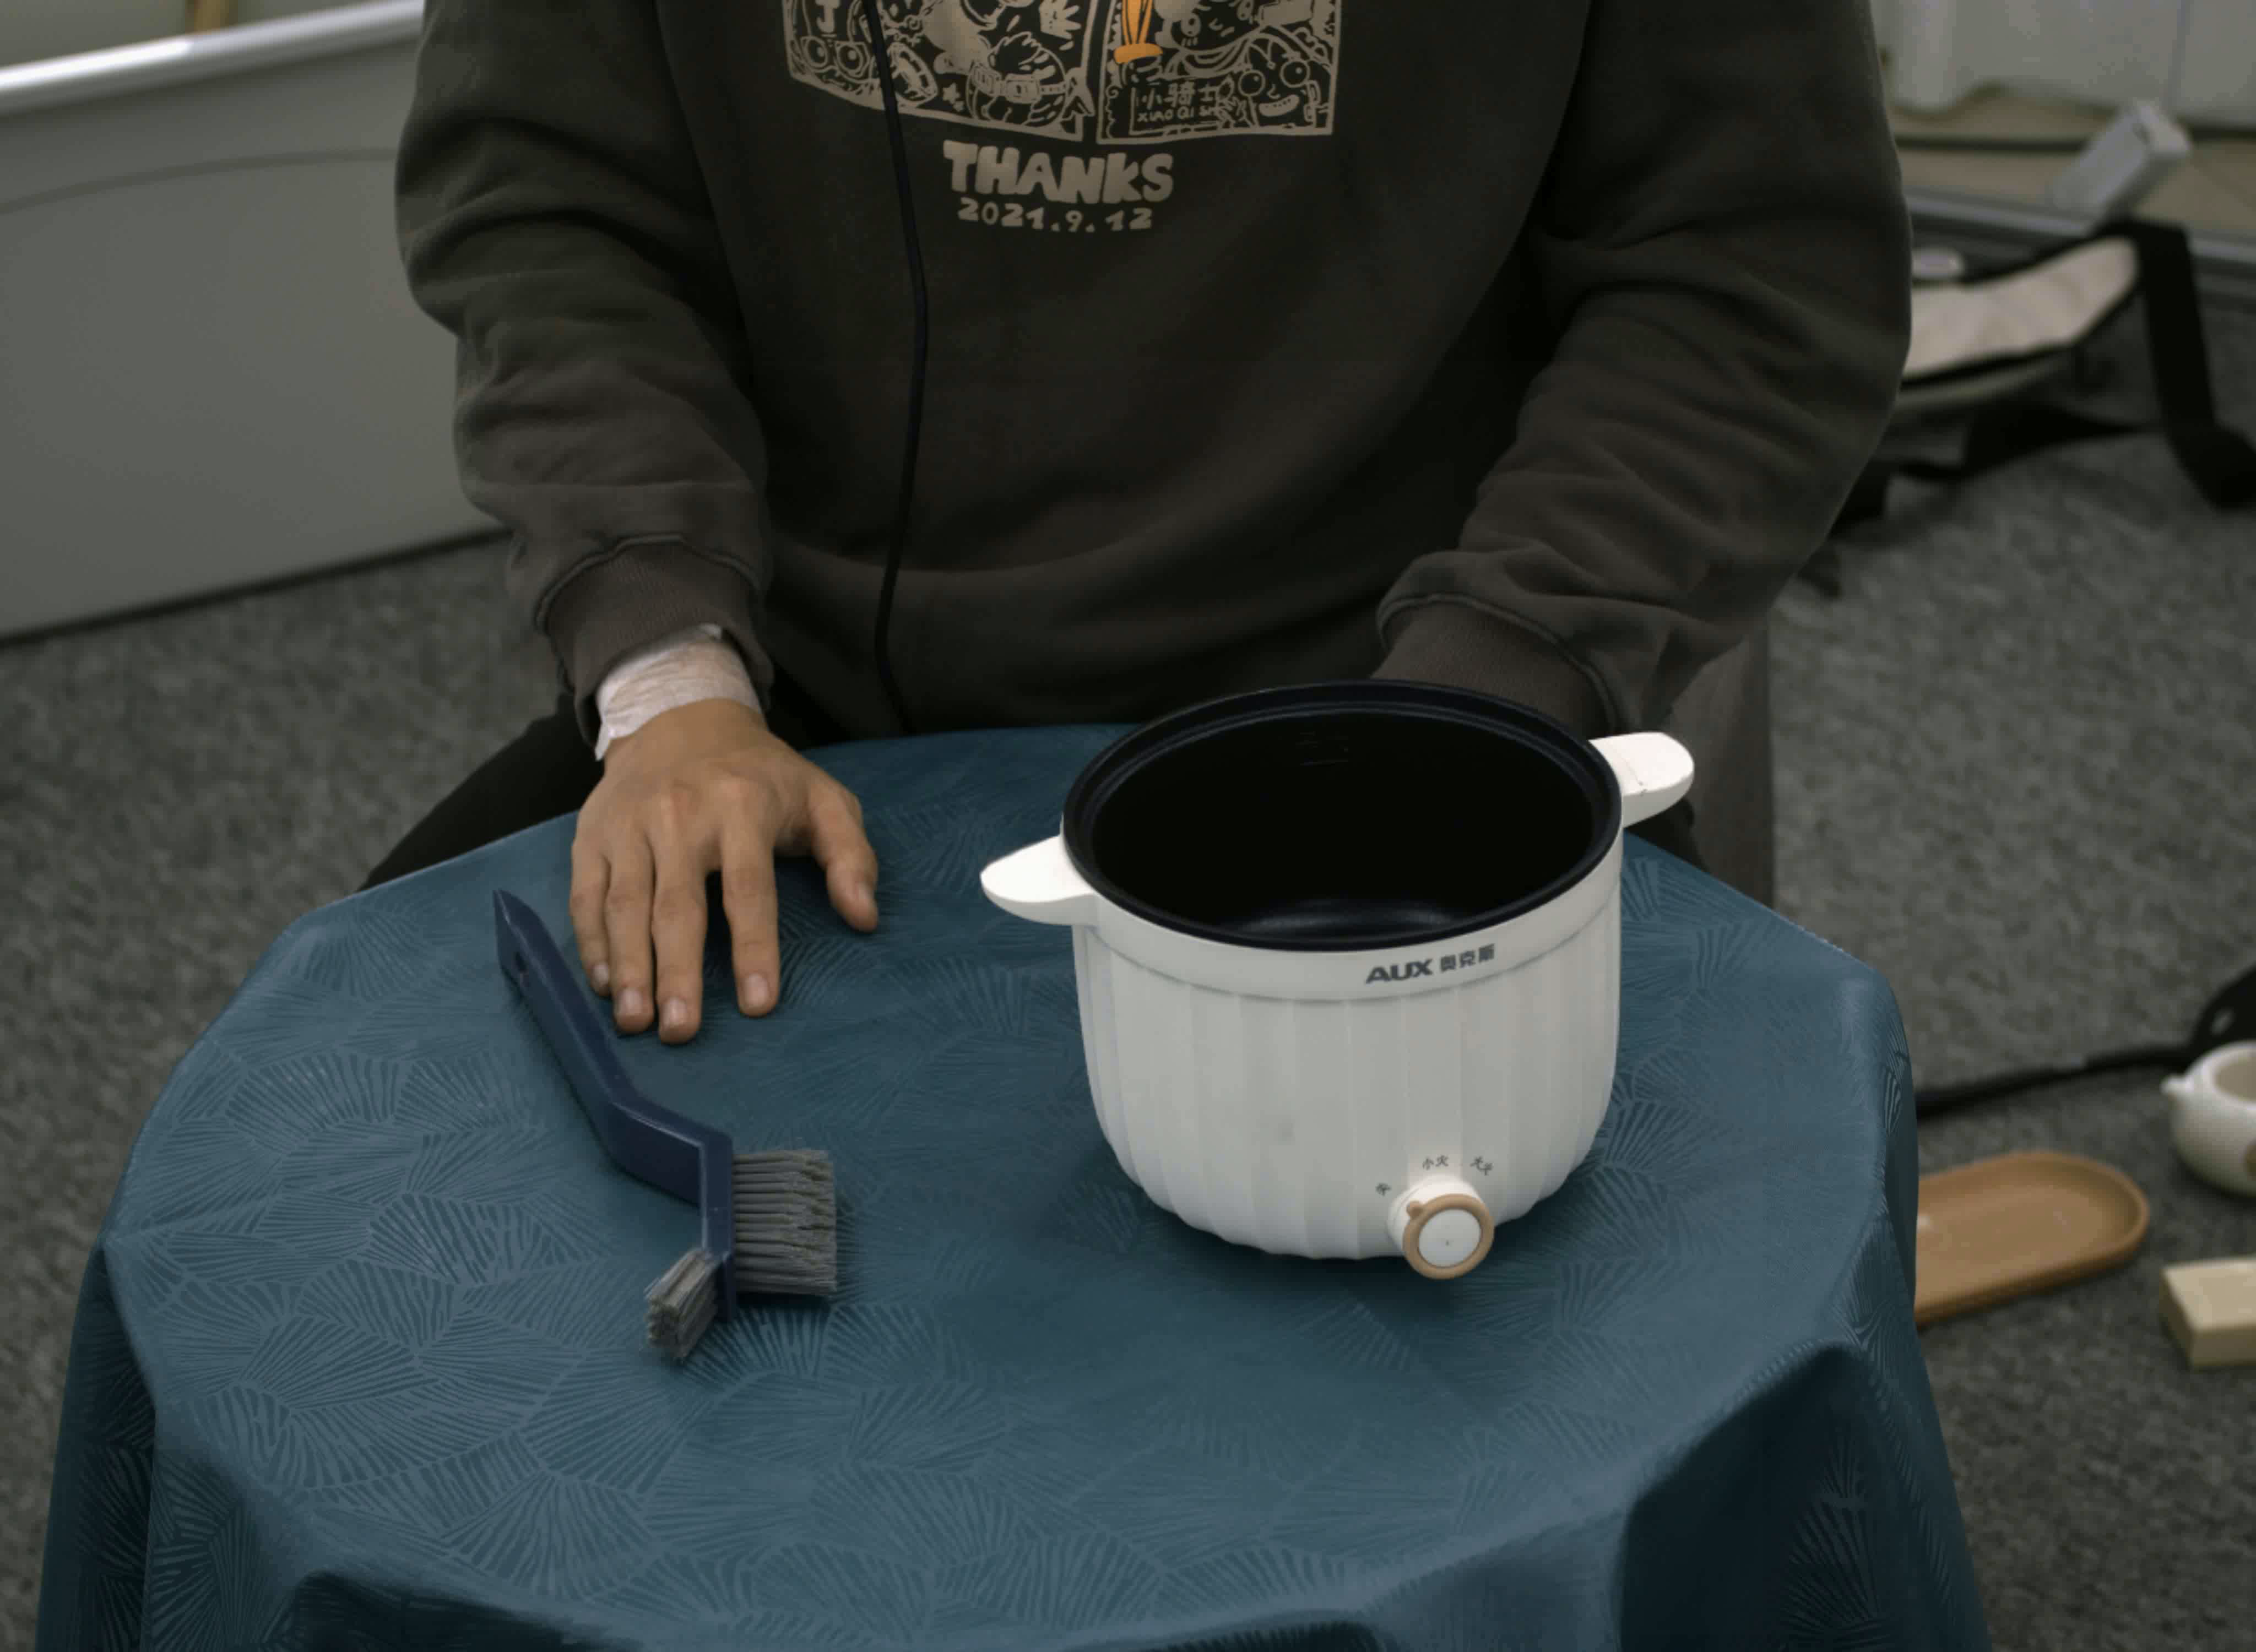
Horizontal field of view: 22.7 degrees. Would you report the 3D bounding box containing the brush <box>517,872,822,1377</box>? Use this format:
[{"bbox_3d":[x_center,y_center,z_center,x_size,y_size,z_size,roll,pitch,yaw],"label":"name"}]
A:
[{"bbox_3d":[-0.178,0.095,1.895,0.096,0.033,0.275,-17,32,-23],"label":"brush"}]

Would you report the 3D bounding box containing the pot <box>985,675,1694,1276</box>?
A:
[{"bbox_3d":[0.076,0.053,1.836,0.240,0.141,0.192,-11,25,-13],"label":"pot"}]
